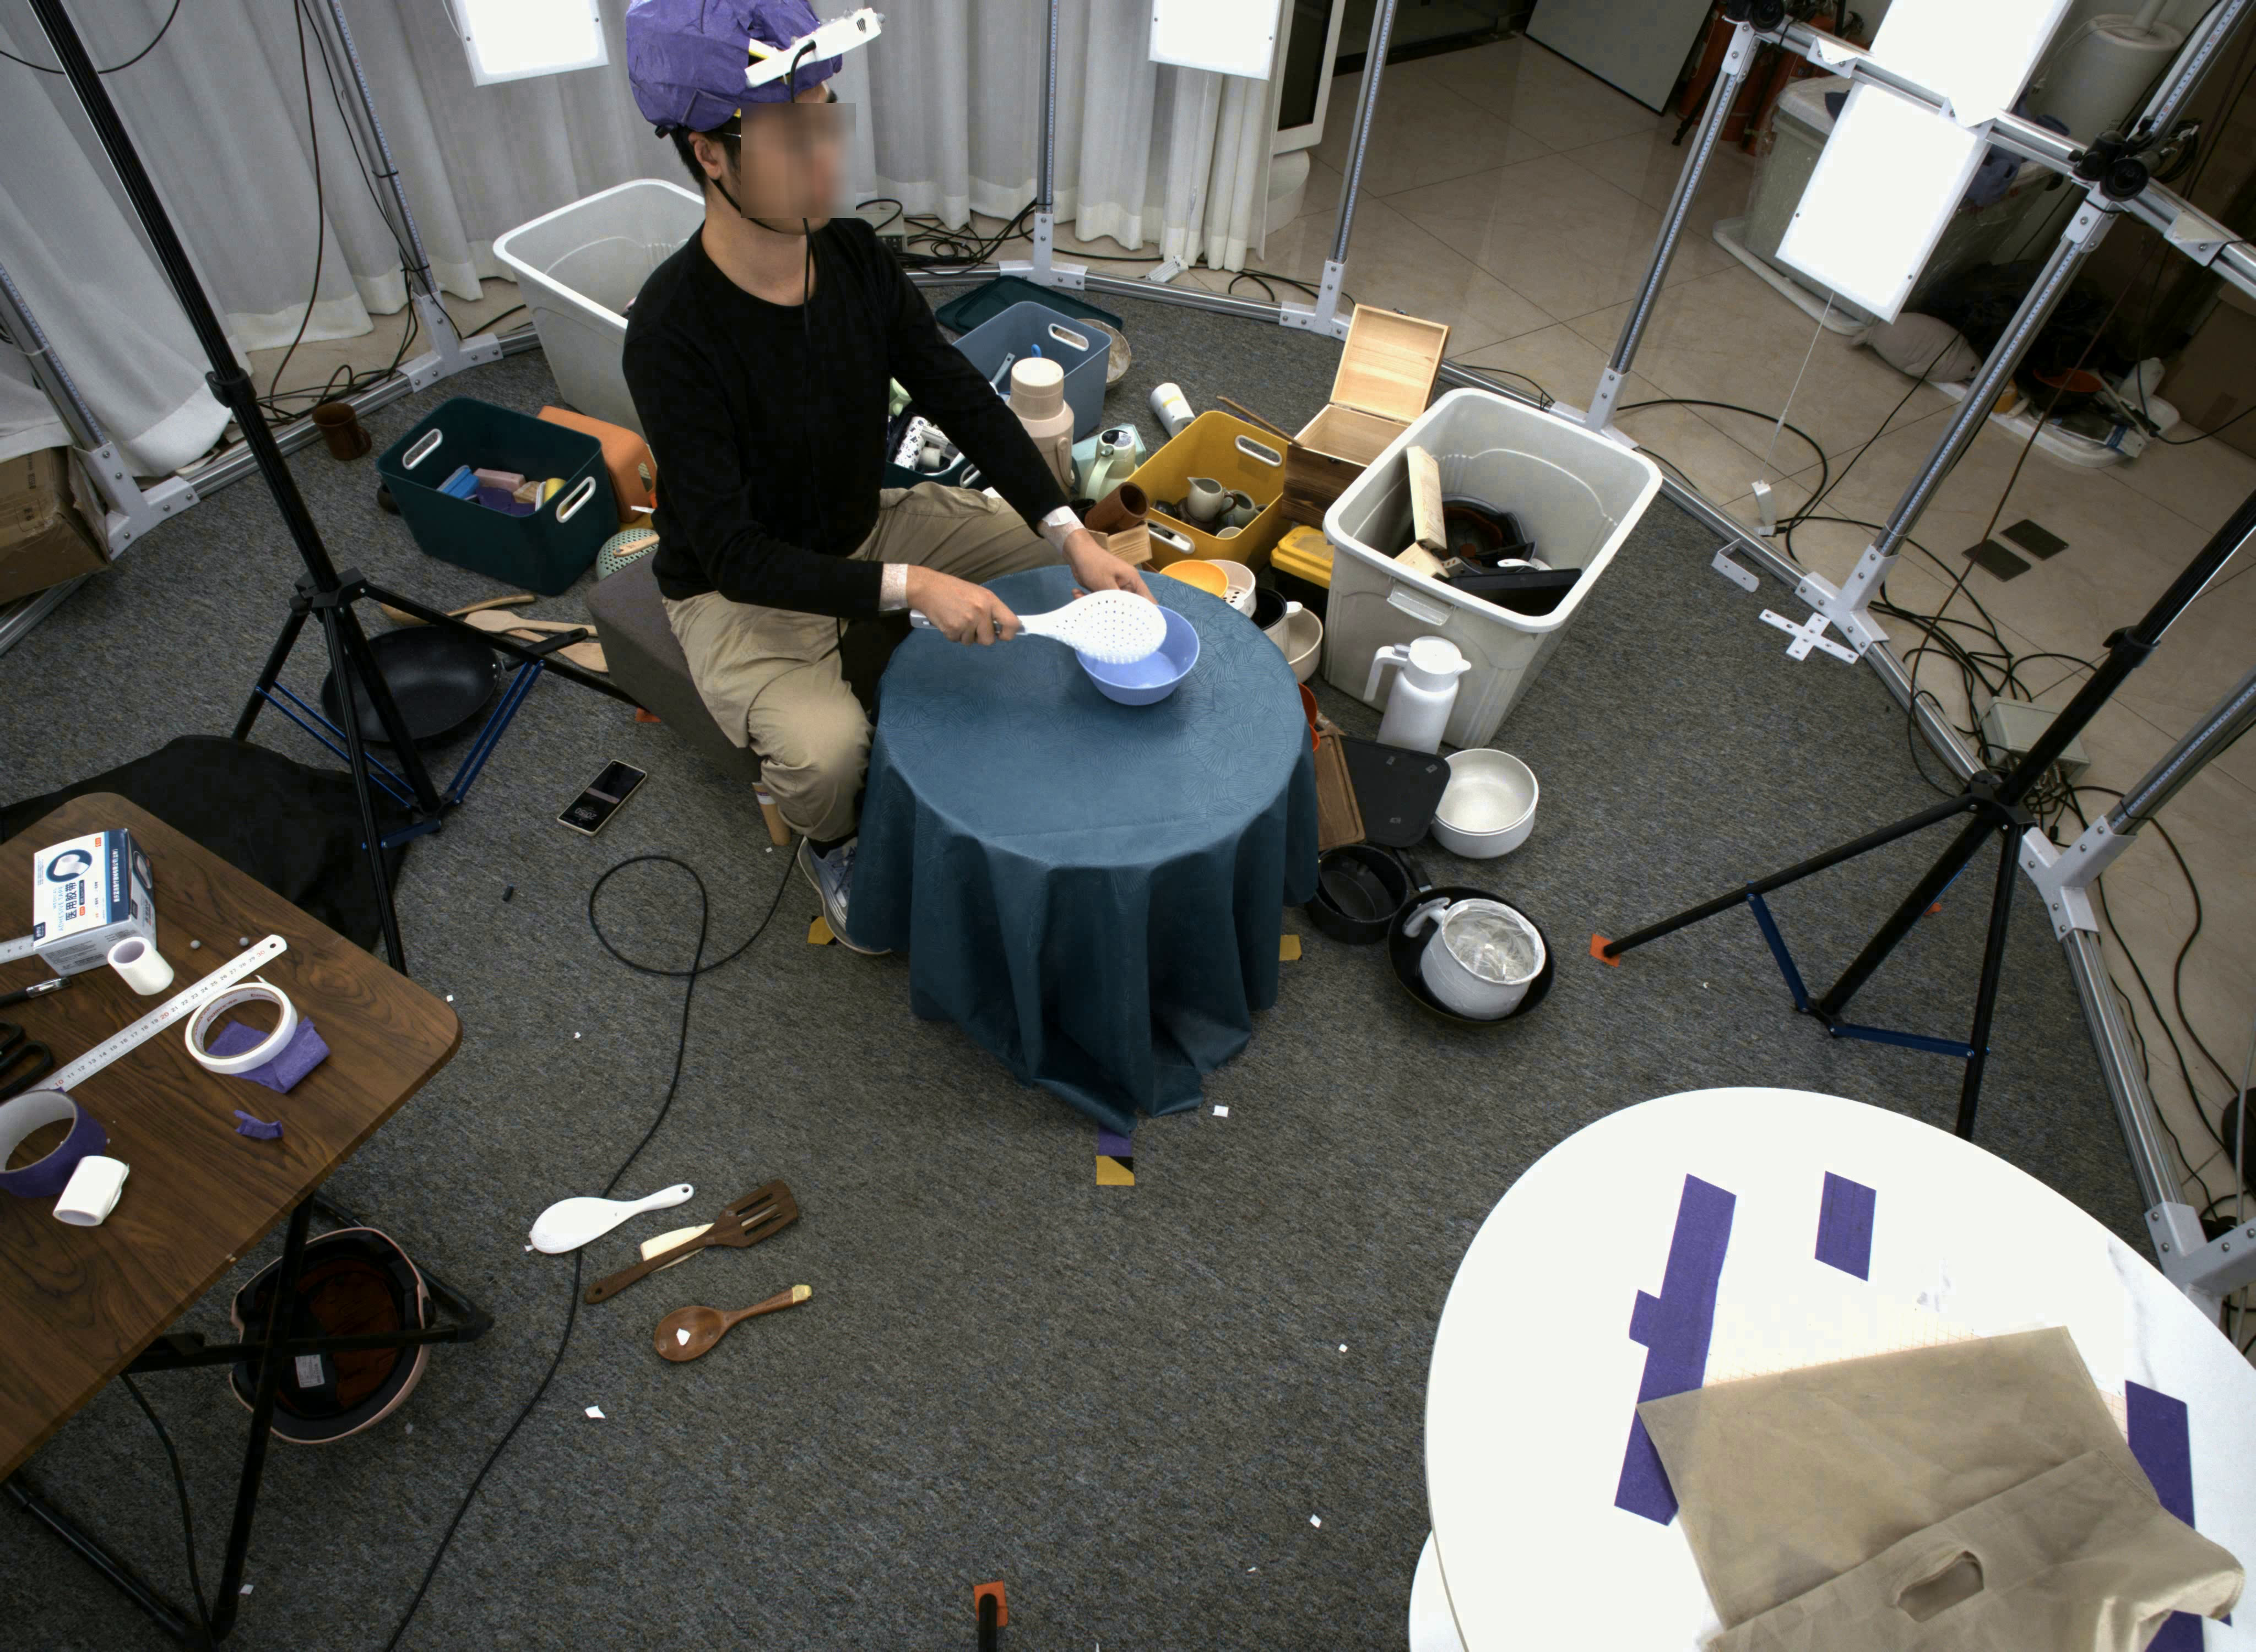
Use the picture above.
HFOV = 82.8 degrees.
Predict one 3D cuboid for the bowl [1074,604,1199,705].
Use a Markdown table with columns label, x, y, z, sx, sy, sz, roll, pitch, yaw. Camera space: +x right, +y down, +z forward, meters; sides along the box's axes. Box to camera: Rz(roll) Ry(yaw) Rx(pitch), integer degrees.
| label | x | y | z | sx | sy | sz | roll | pitch | yaw |
| --- | --- | --- | --- | --- | --- | --- | --- | --- | --- |
| bowl | 0.011 | -0.236 | 1.829 | 0.176 | 0.068 | 0.180 | 0 | 49 | 0 |

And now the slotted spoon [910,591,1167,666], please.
| label | x | y | z | sx | sy | sz | roll | pitch | yaw |
| --- | --- | --- | --- | --- | --- | --- | --- | --- | --- |
| slotted spoon | -0.123 | -0.272 | 1.757 | 0.350 | 0.133 | 0.047 | 8 | 53 | 6 |
